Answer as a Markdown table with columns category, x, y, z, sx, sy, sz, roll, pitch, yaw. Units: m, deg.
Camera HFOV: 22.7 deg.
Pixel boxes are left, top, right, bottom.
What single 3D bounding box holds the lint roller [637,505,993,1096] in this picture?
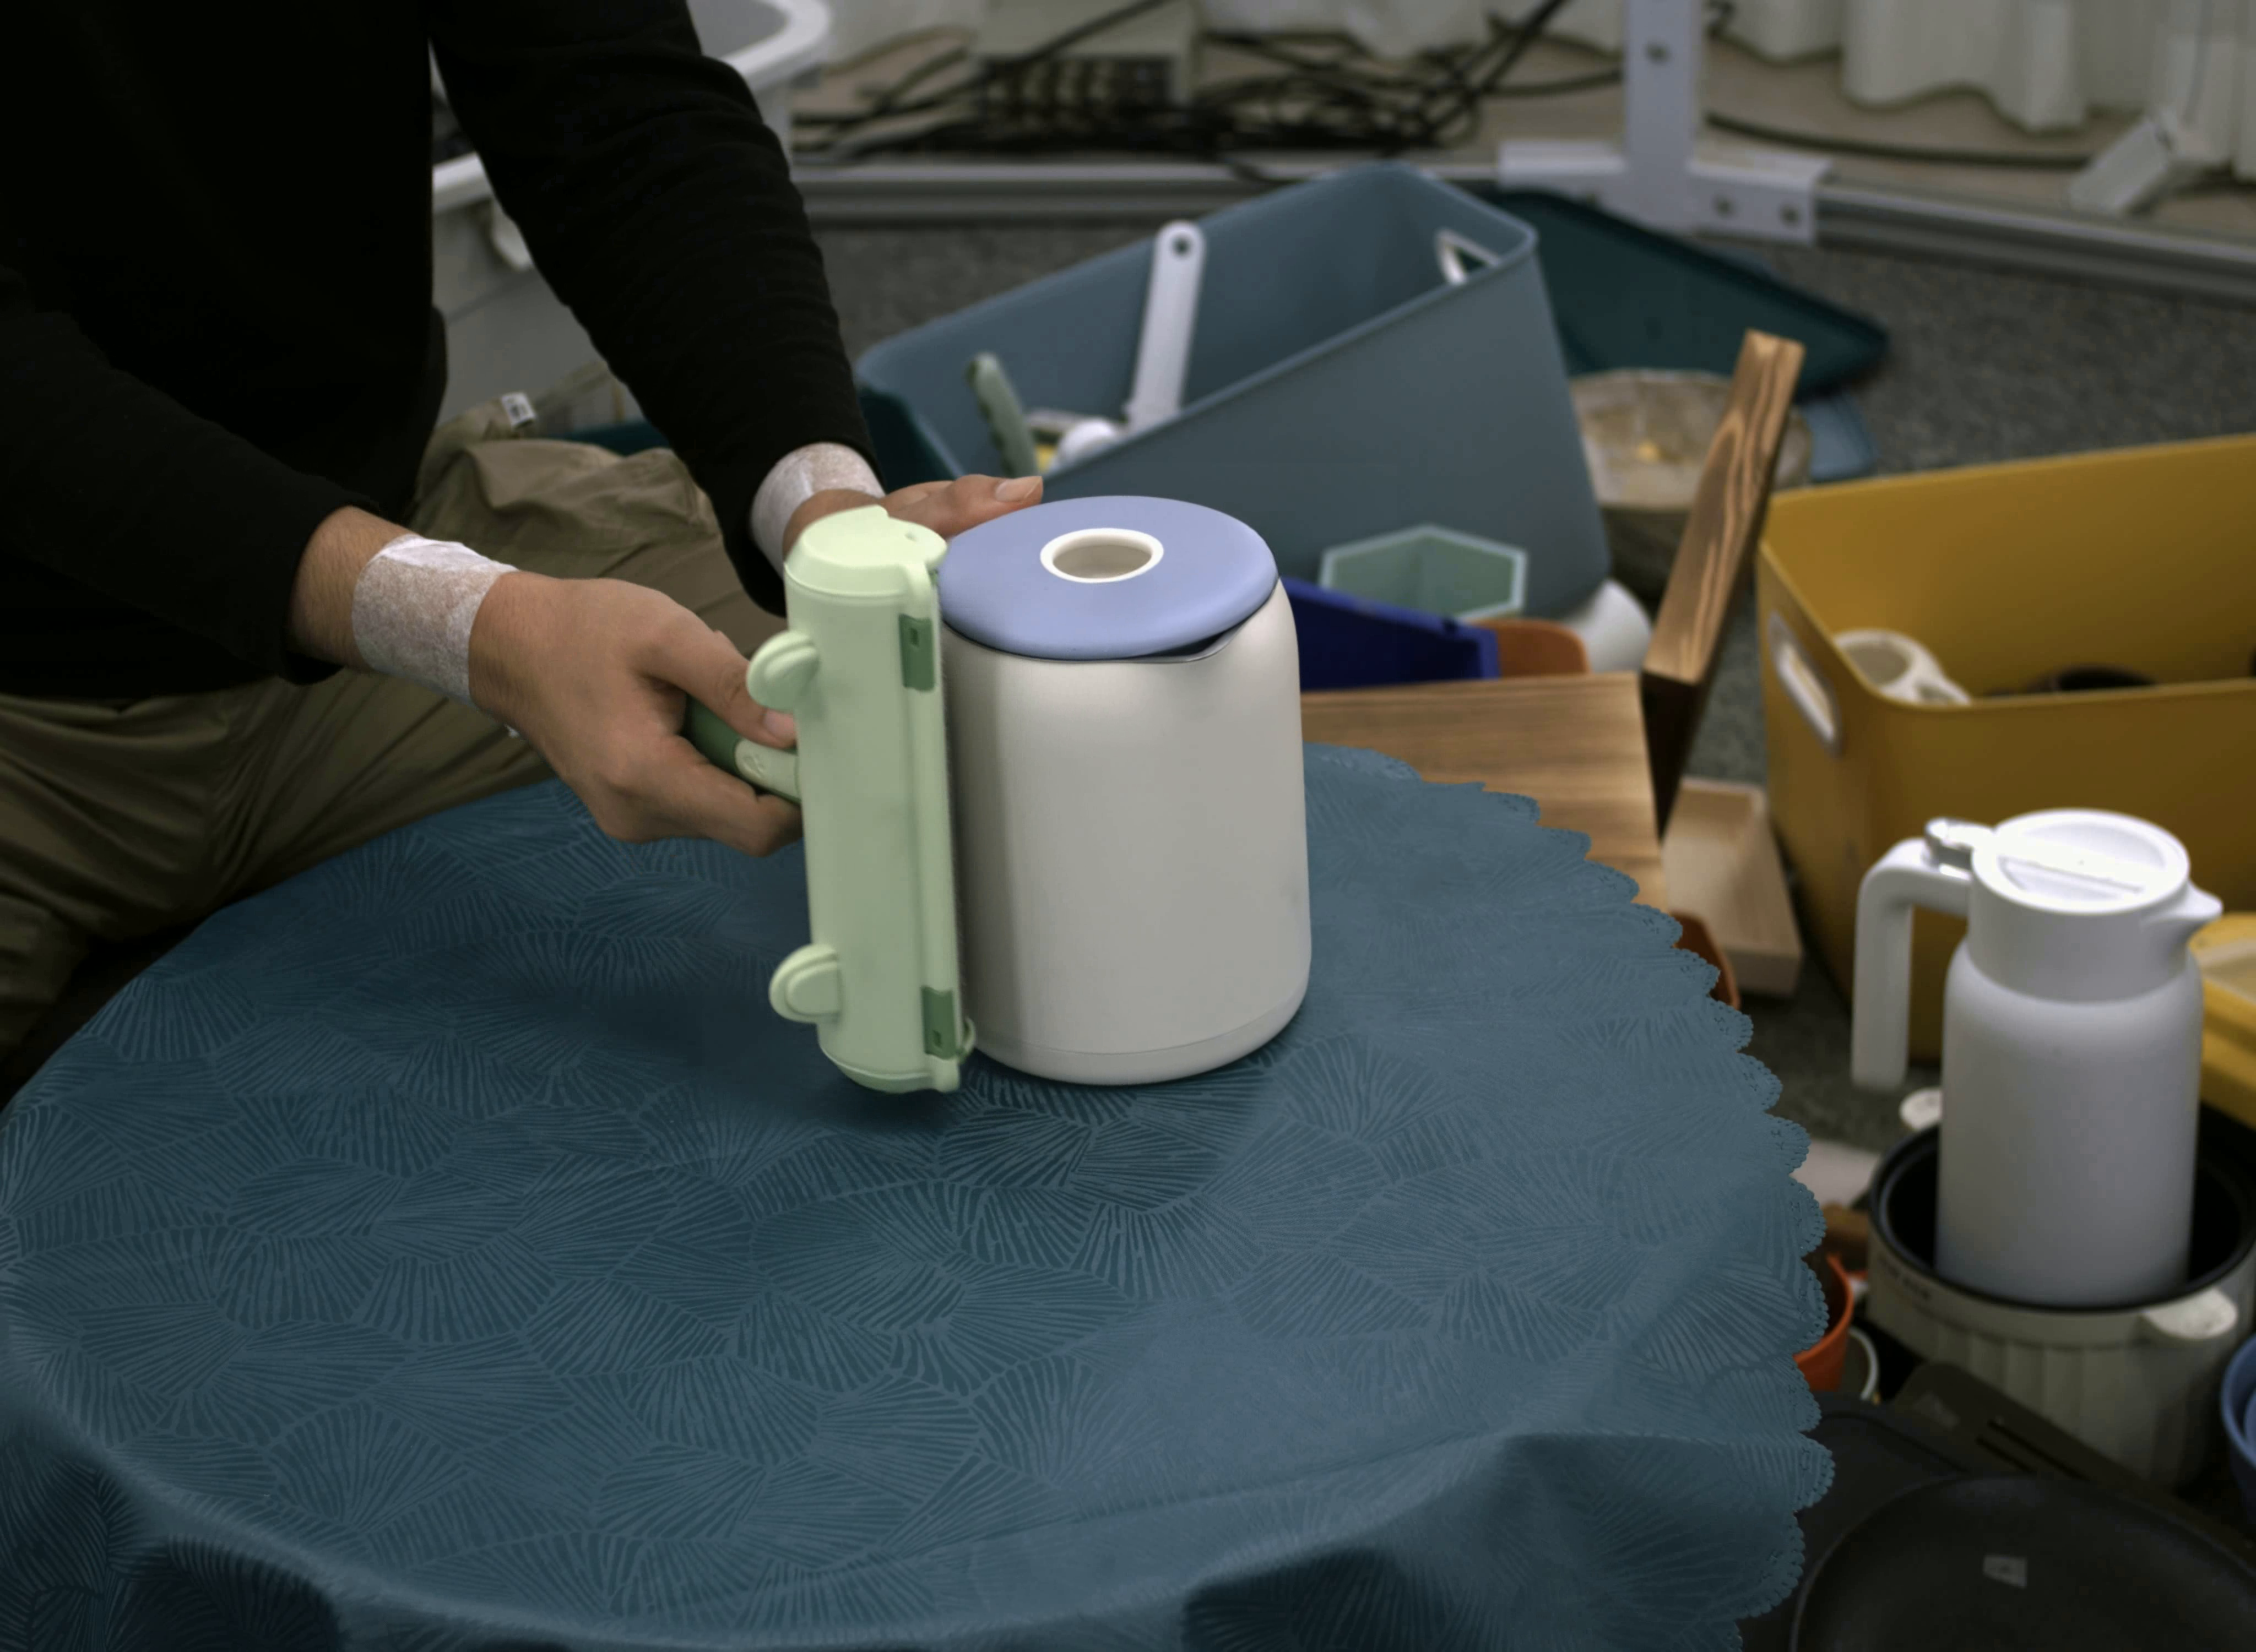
| category | x | y | z | sx | sy | sz | roll | pitch | yaw |
| --- | --- | --- | --- | --- | --- | --- | --- | --- | --- |
| lint roller | -0.124 | -0.019 | 1.905 | 0.183 | 0.197 | 0.083 | 19 | 32 | 39 |

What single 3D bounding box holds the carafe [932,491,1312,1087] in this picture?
| category | x | y | z | sx | sy | sz | roll | pitch | yaw |
| --- | --- | --- | --- | --- | --- | --- | --- | --- | --- |
| carafe | -0.017 | -0.022 | 1.956 | 0.133 | 0.181 | 0.191 | -17 | 28 | -27 |
